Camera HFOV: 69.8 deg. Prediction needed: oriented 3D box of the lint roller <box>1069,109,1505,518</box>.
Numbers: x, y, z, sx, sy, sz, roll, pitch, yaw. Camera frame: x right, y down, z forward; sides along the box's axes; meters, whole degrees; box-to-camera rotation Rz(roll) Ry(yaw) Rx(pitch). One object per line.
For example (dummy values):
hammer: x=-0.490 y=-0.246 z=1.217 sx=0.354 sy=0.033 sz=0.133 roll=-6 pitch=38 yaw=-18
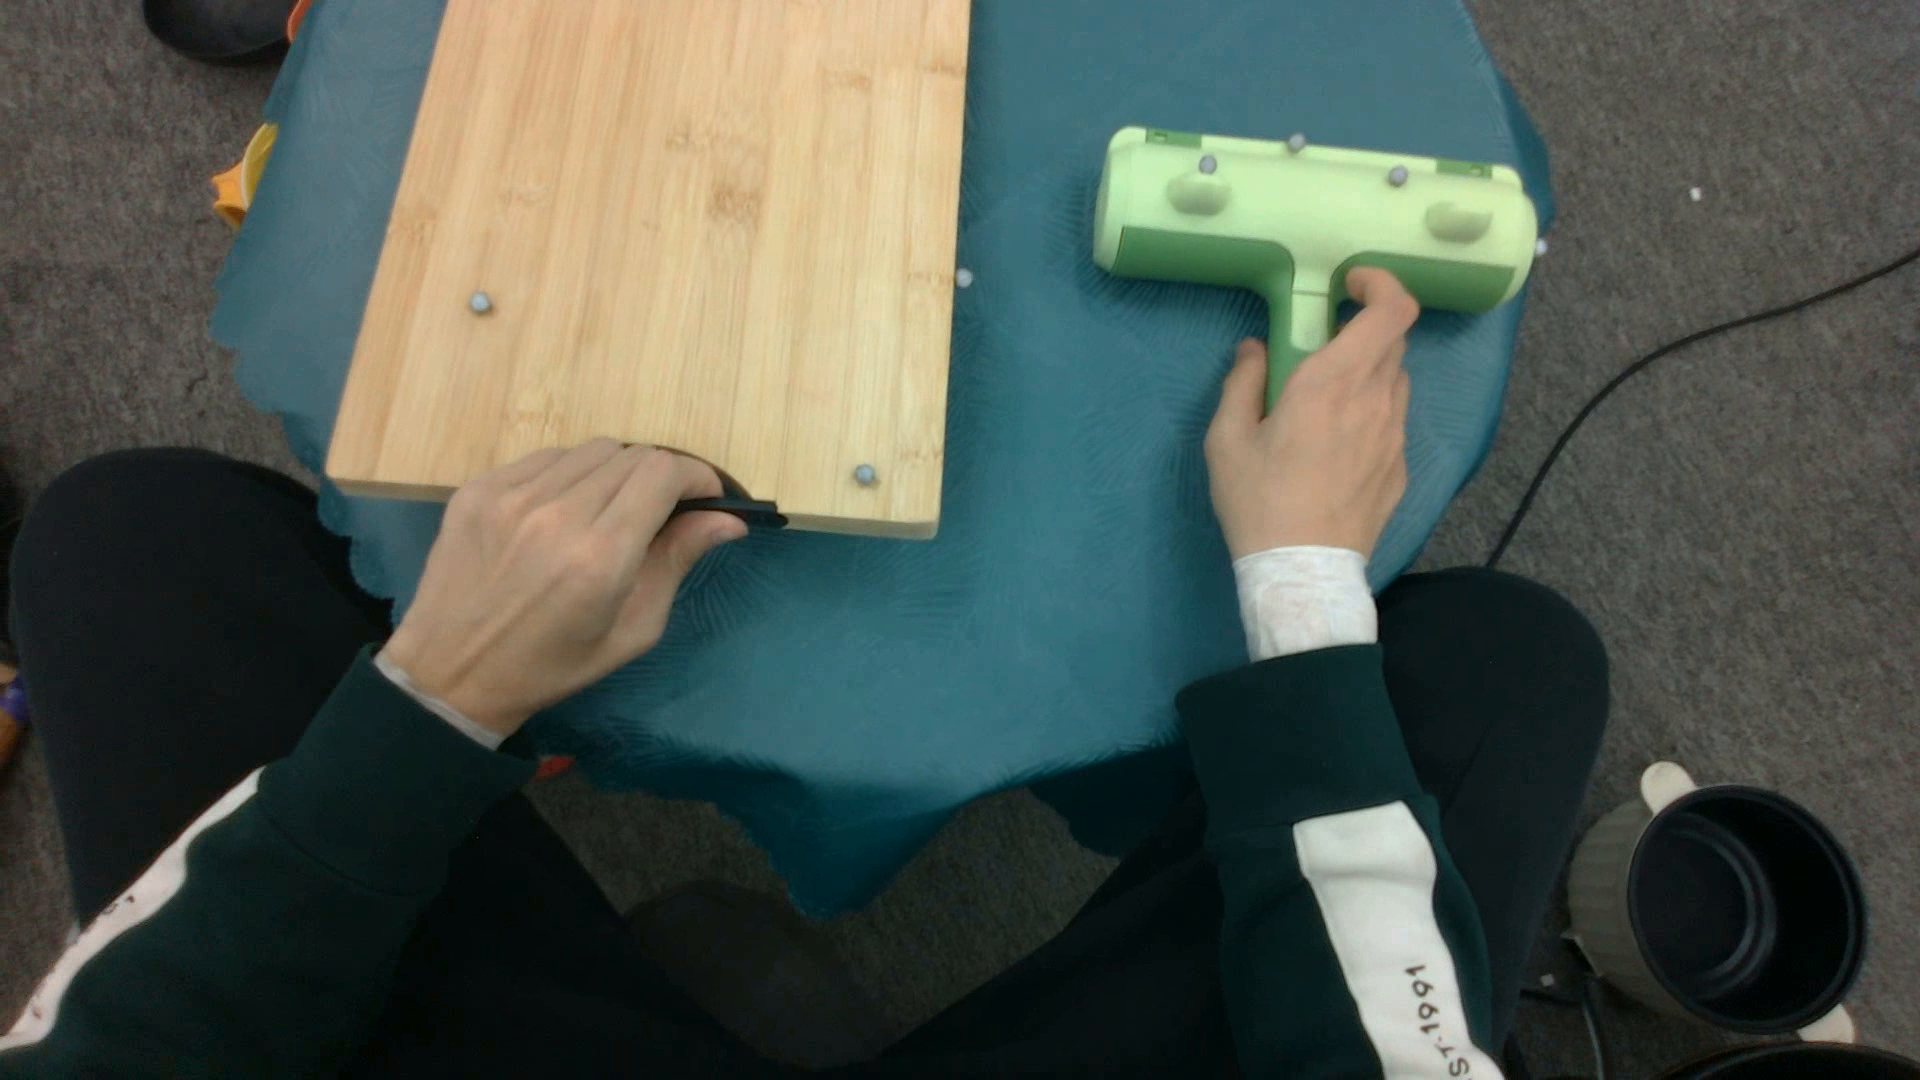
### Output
lint roller: x=0.148 y=-0.106 z=0.618 sx=0.198 sy=0.082 sz=0.184 roll=5 pitch=71 yaw=-3

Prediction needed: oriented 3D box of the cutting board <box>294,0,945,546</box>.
cutting board: x=-0.132 y=-0.165 z=0.615 sx=0.251 sy=0.023 sz=0.350 roll=2 pitch=66 yaw=-4
